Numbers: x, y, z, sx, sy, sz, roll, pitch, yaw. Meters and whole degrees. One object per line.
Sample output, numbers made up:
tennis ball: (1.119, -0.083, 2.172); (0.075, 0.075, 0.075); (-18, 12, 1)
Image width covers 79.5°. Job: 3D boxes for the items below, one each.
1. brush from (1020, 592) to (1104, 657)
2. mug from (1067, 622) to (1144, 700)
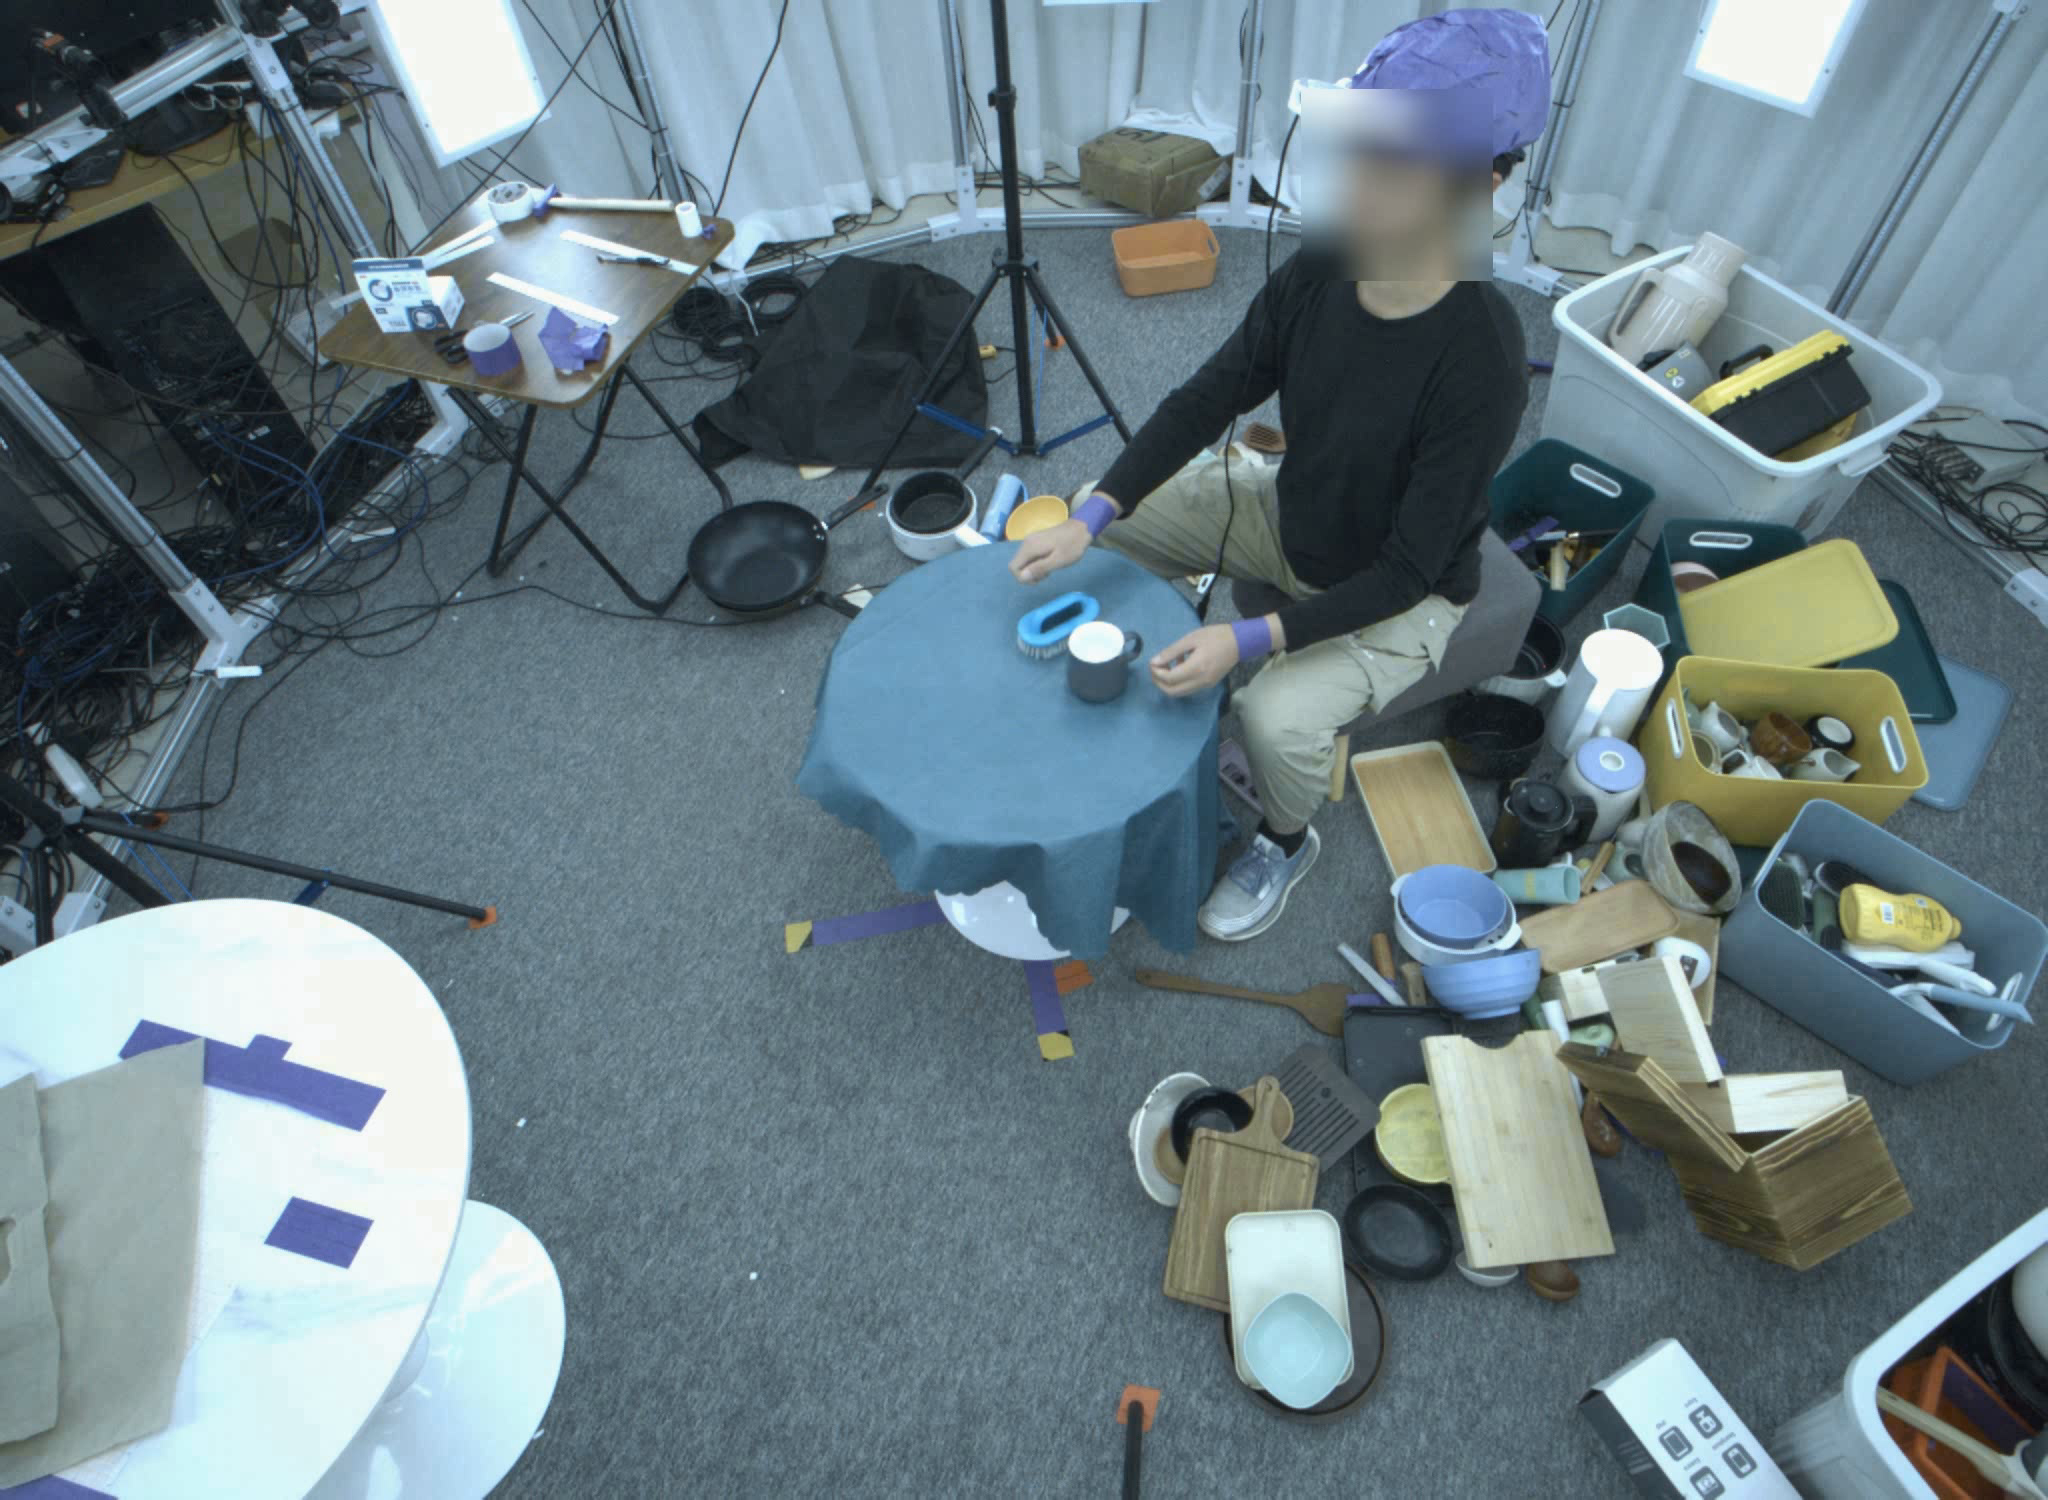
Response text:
brush: (0.055, -0.204, 1.892); (0.143, 0.064, 0.082); (-28, 53, -18)
mug: (0.122, -0.138, 1.825); (0.124, 0.091, 0.092); (-25, 58, -12)
